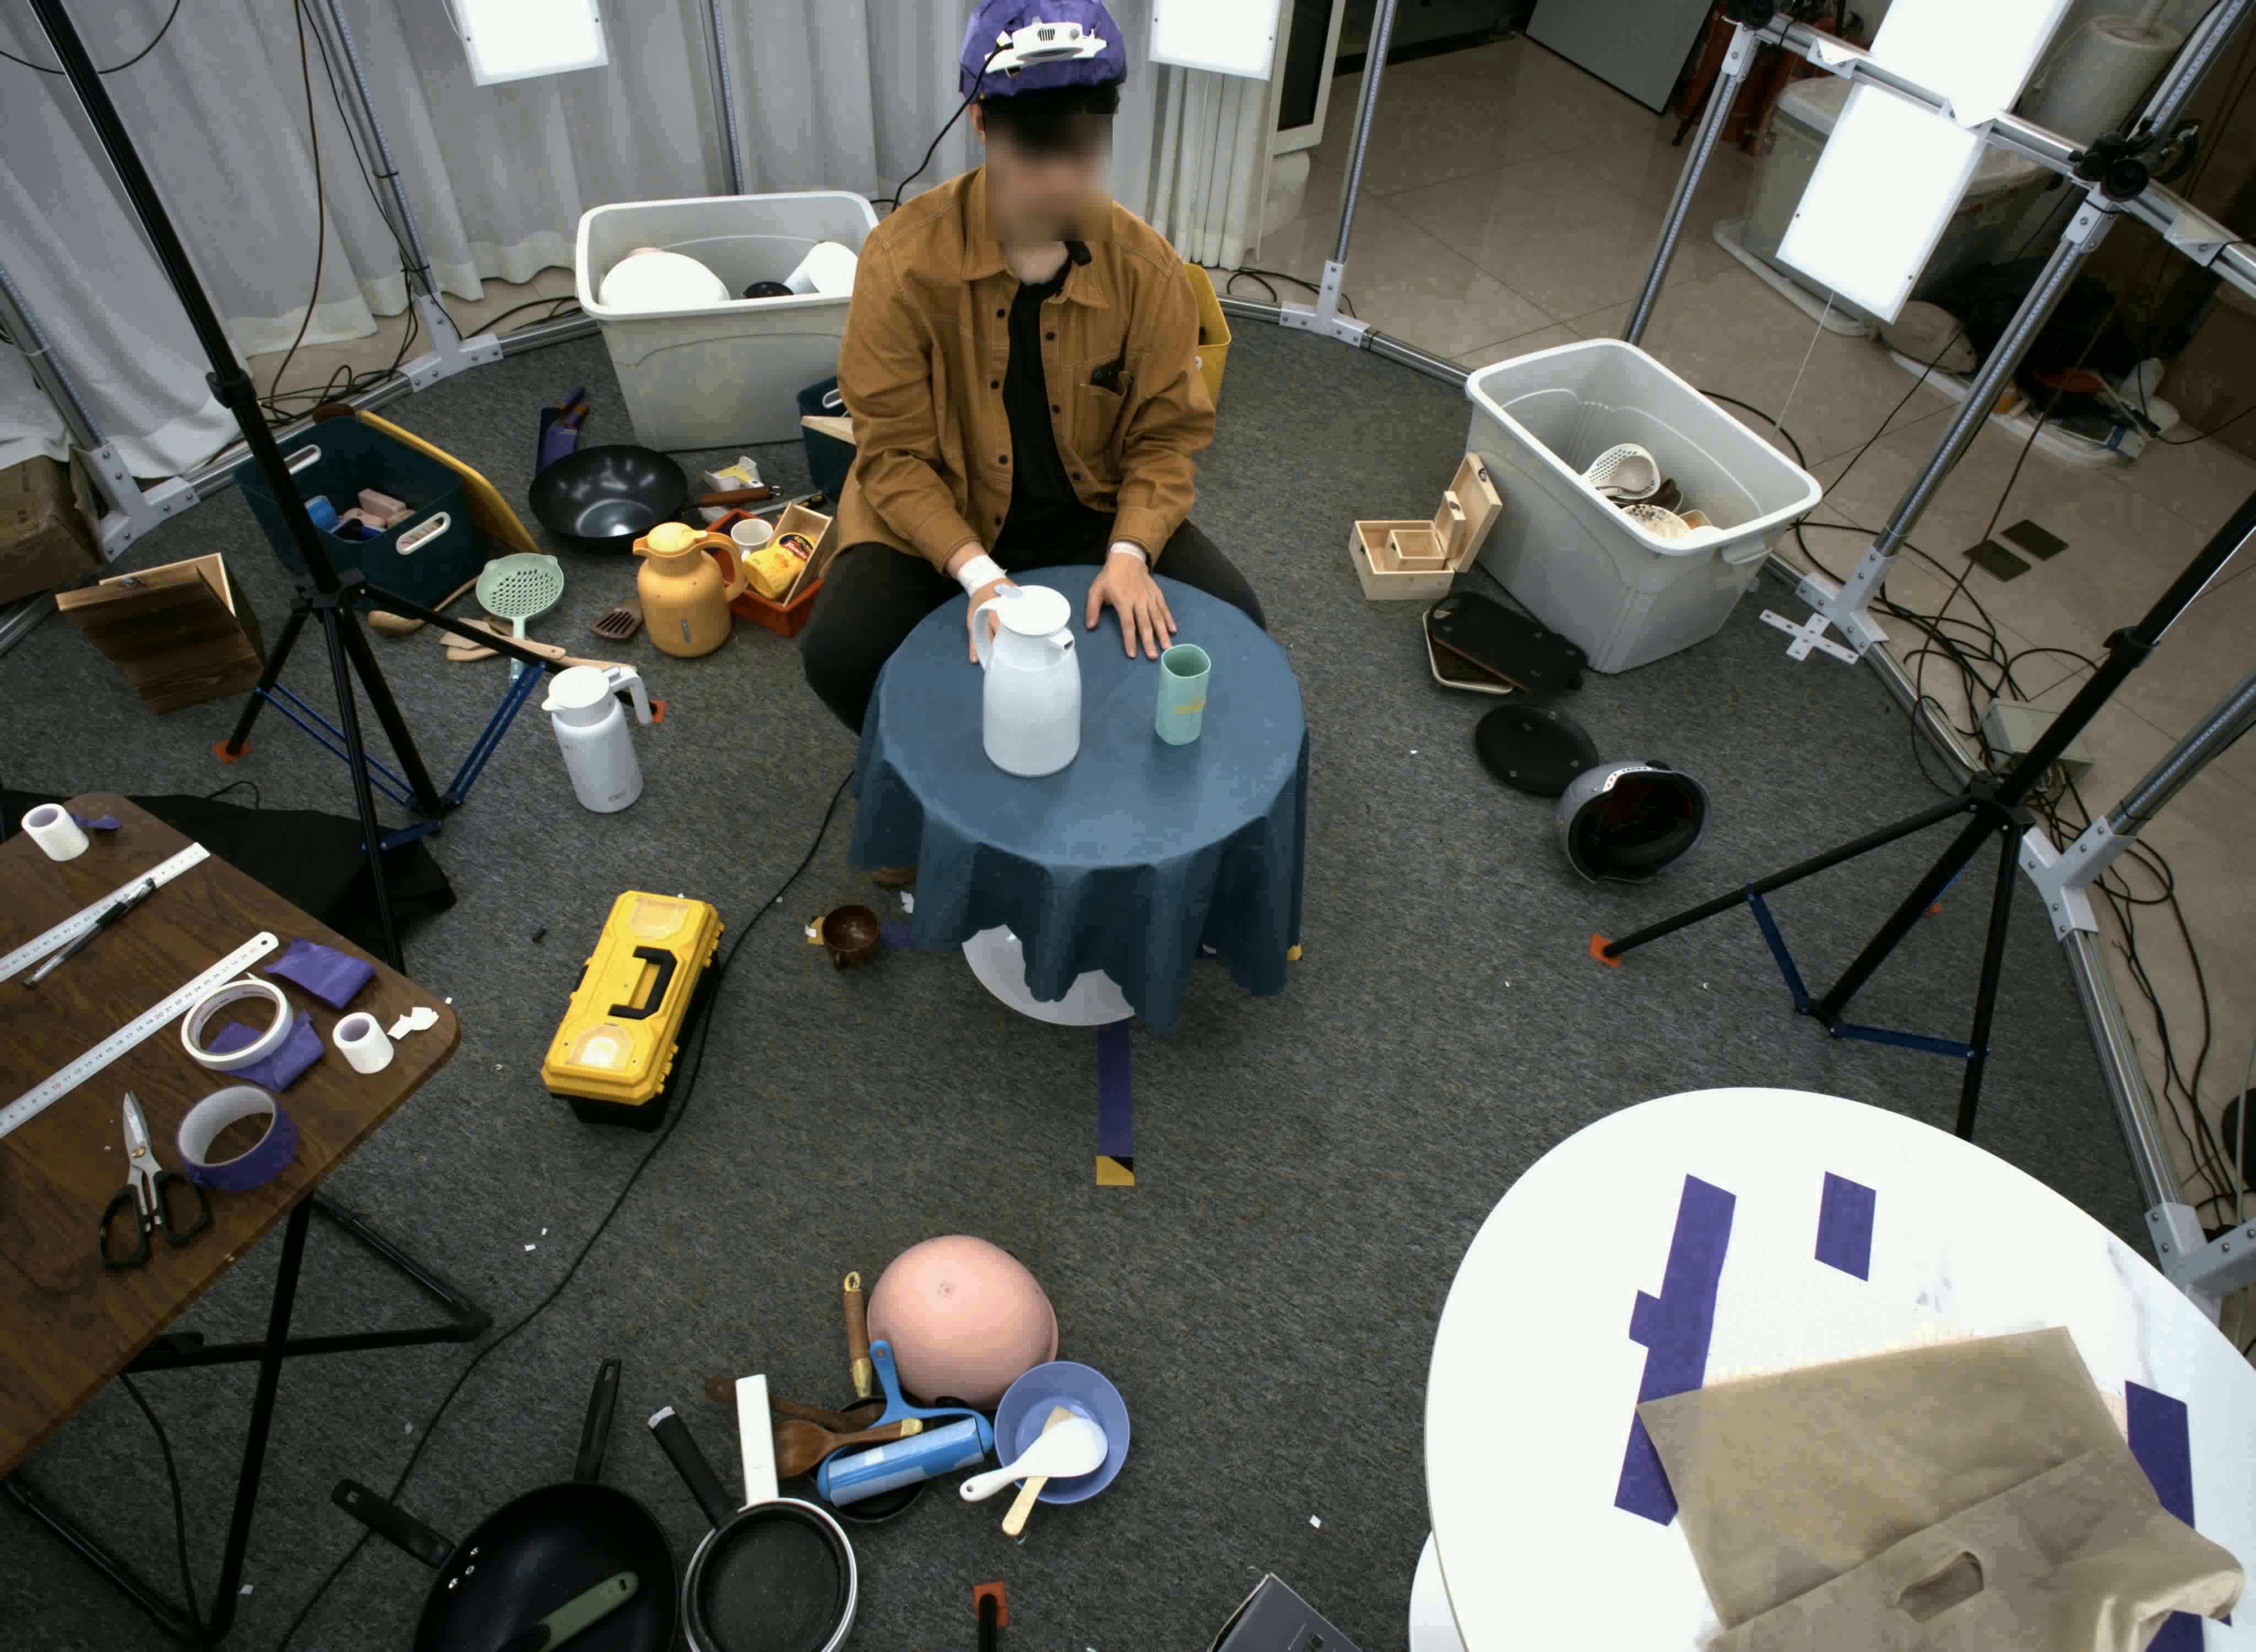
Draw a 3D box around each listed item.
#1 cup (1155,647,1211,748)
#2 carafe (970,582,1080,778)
[{"bbox_3d":[0.073,-0.175,1.745,0.066,0.129,0.068,2,49,-3],"label":"cup"},{"bbox_3d":[-0.141,-0.202,1.676,0.170,0.242,0.134,35,56,24],"label":"carafe"}]
